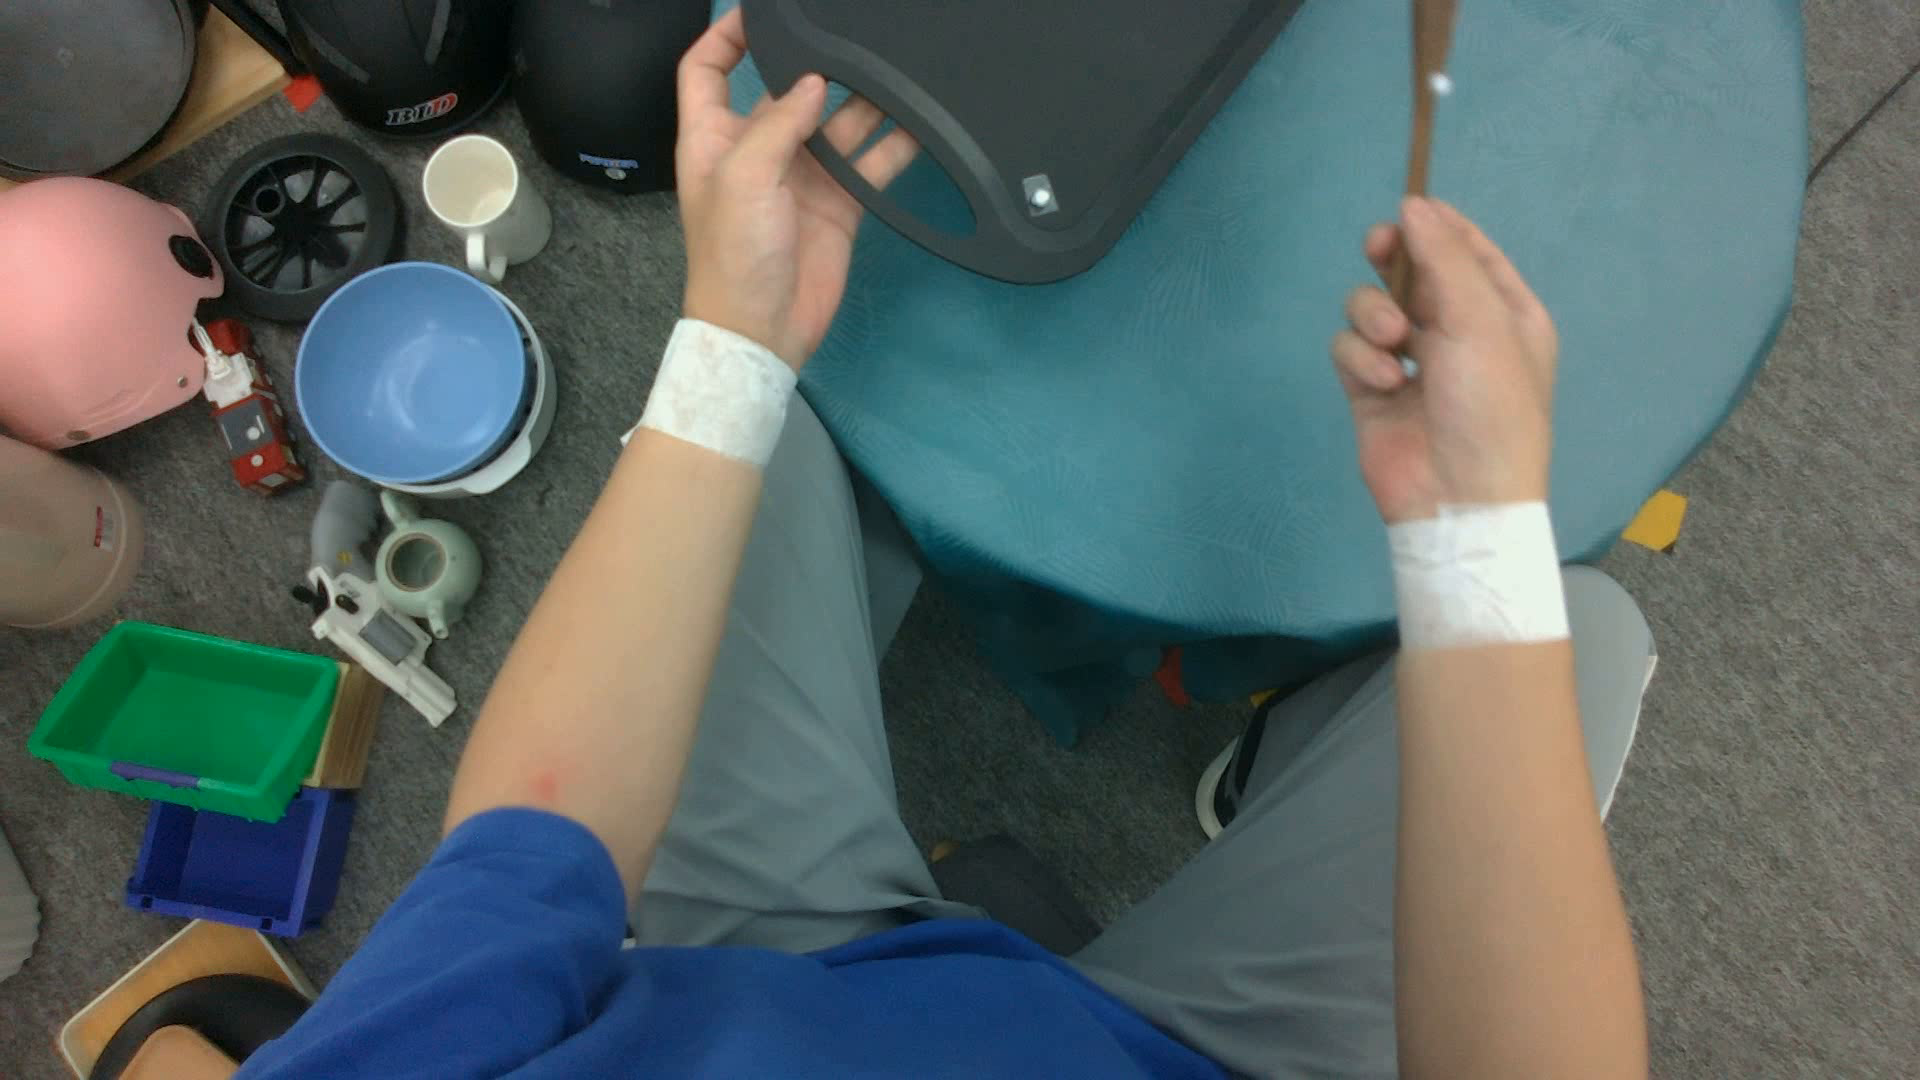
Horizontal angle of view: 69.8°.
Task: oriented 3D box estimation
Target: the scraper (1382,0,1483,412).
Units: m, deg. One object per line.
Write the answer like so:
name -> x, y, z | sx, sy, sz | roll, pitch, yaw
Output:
scraper -> 0.203, -0.159, 0.598 | 0.011, 0.076, 0.211 | 7, 83, 30

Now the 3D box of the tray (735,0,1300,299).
tray -> 0.043, -0.272, 0.676 | 0.211, 0.010, 0.326 | 39, 72, -9
